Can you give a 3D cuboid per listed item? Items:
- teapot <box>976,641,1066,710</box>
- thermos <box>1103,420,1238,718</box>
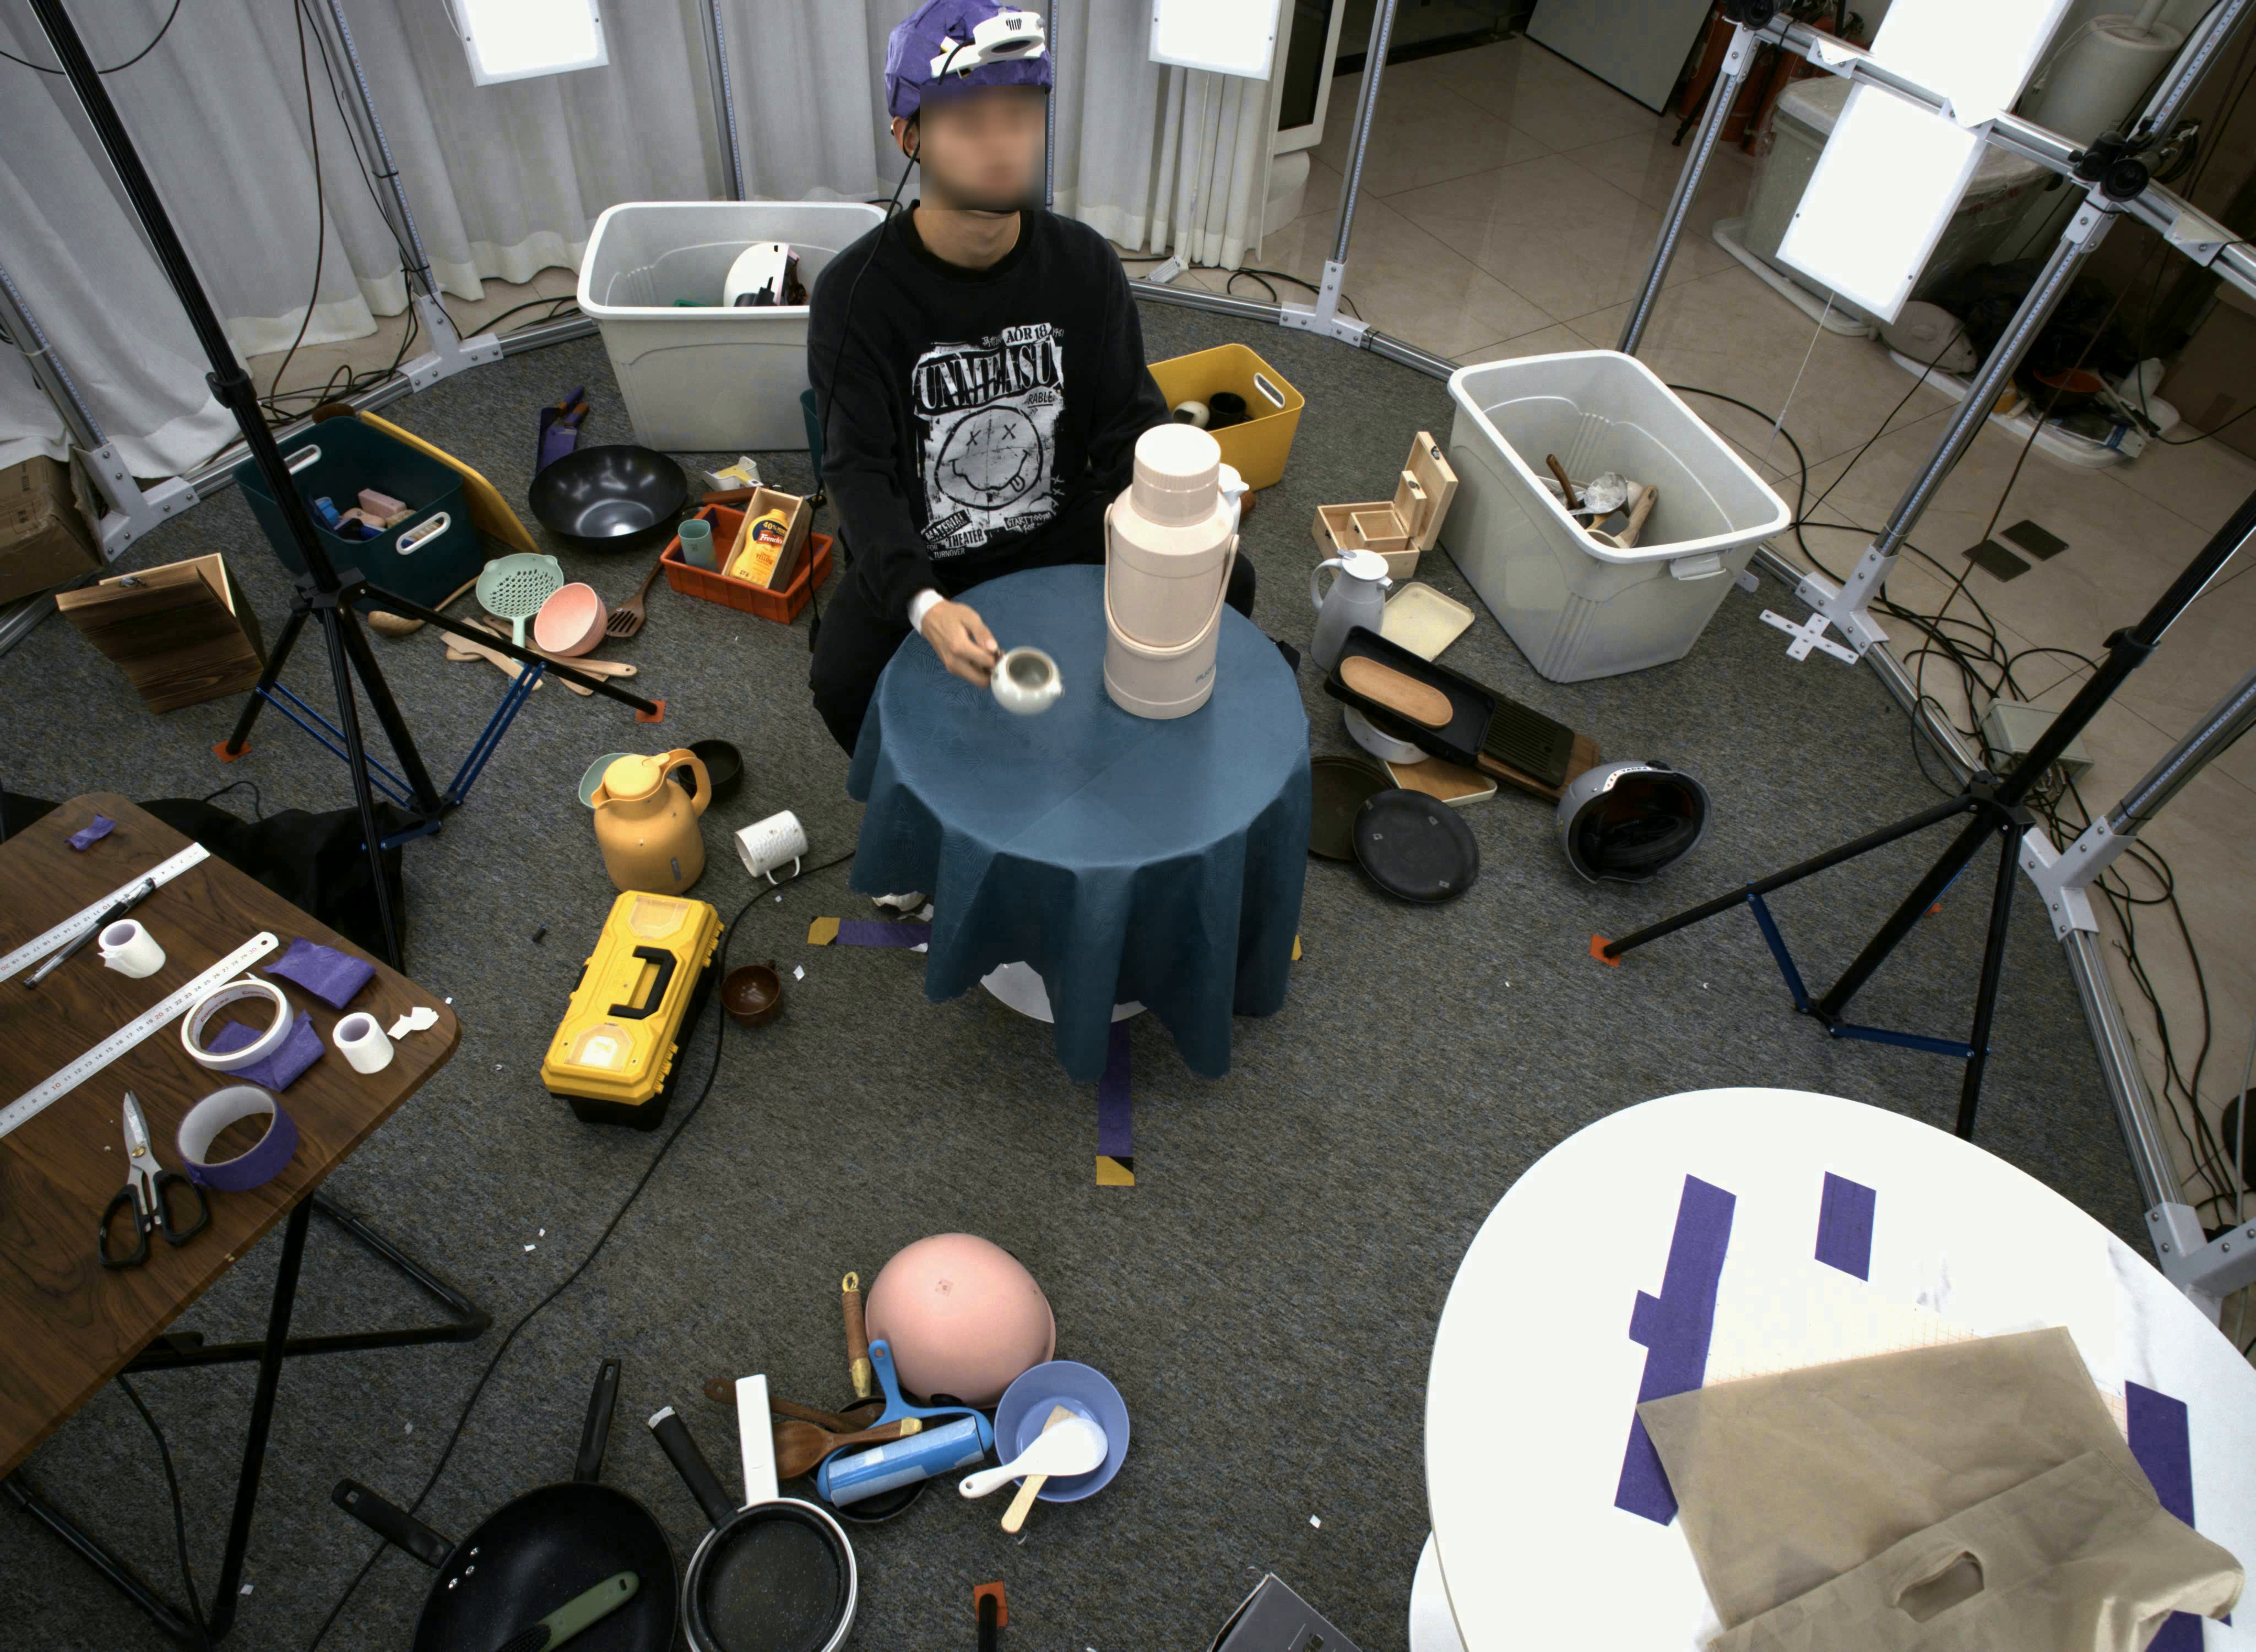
[{"bbox_3d":[-0.141,-0.199,1.661,0.128,0.058,0.093,29,60,5],"label":"teapot"},{"bbox_3d":[0.058,-0.344,1.713,0.176,0.396,0.211,14,52,11],"label":"thermos"}]
